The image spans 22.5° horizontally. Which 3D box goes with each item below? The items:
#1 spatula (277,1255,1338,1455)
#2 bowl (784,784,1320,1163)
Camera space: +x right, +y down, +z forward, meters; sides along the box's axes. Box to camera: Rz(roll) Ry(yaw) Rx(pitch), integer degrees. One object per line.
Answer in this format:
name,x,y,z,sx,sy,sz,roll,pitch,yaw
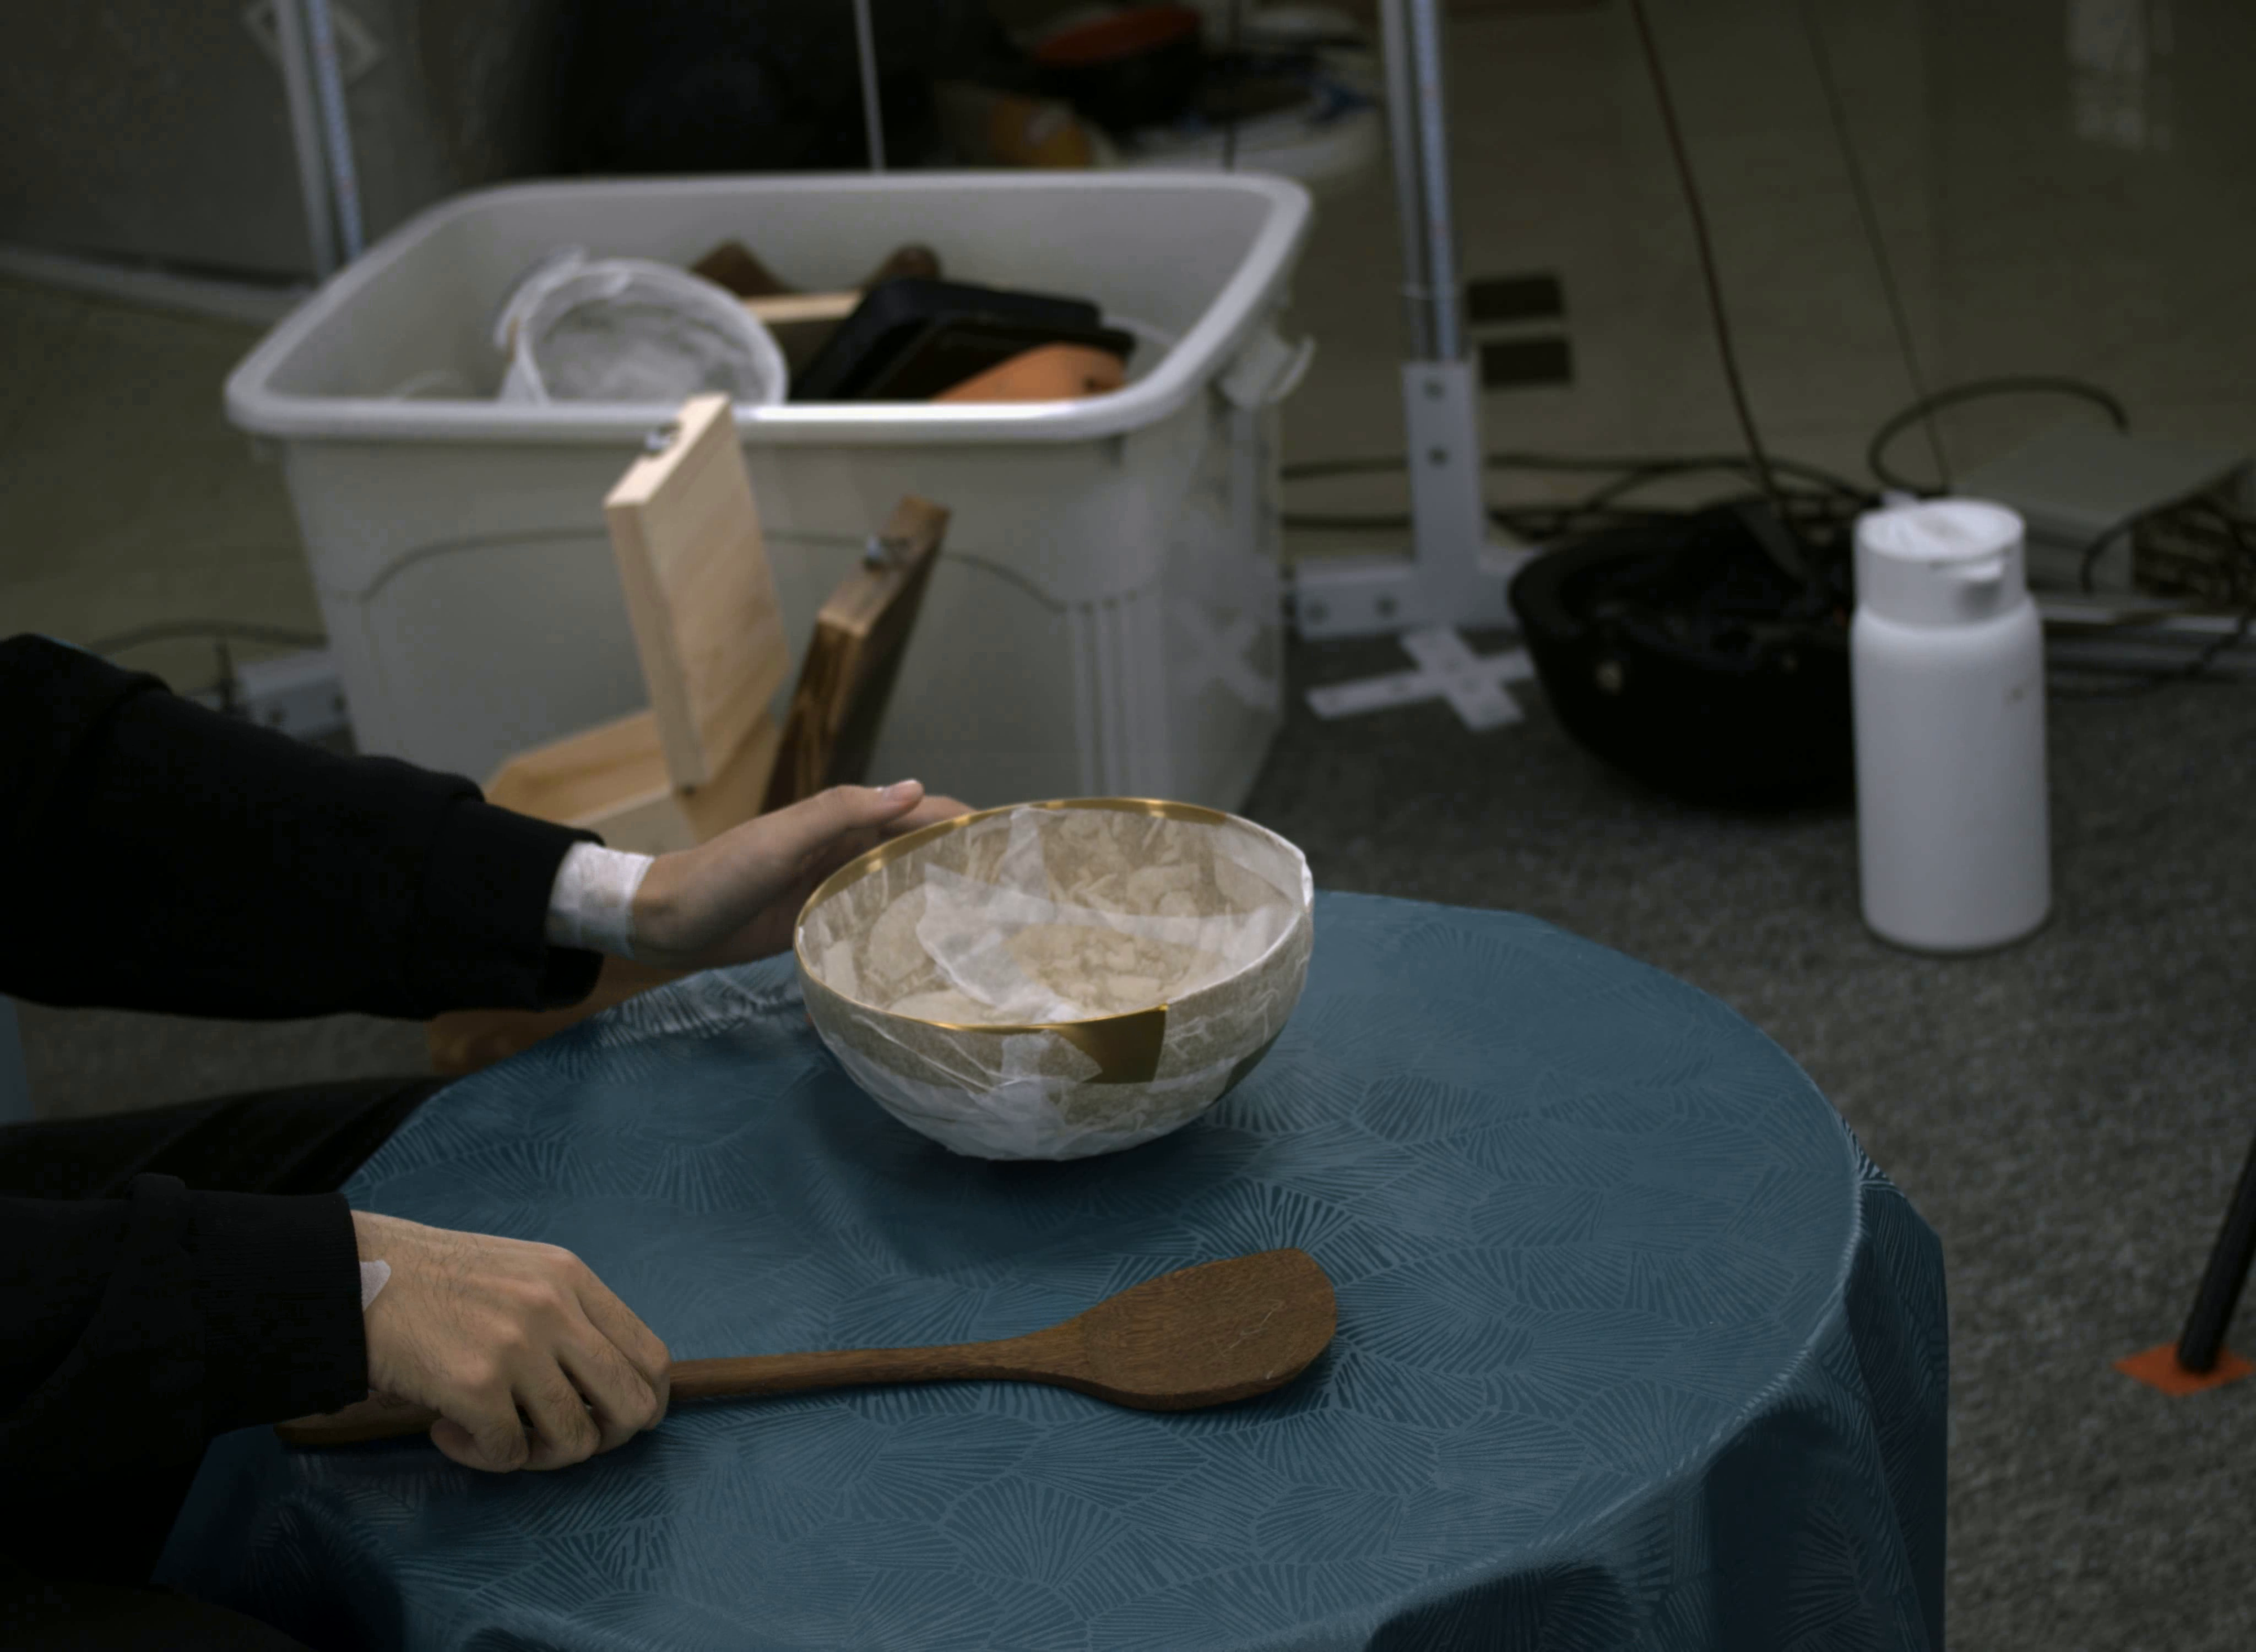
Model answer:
spatula,-0.116,0.197,2.040,0.385,0.016,0.095,-6,25,2
bowl,-0.026,0.070,2.195,0.214,0.096,0.211,-6,27,3
